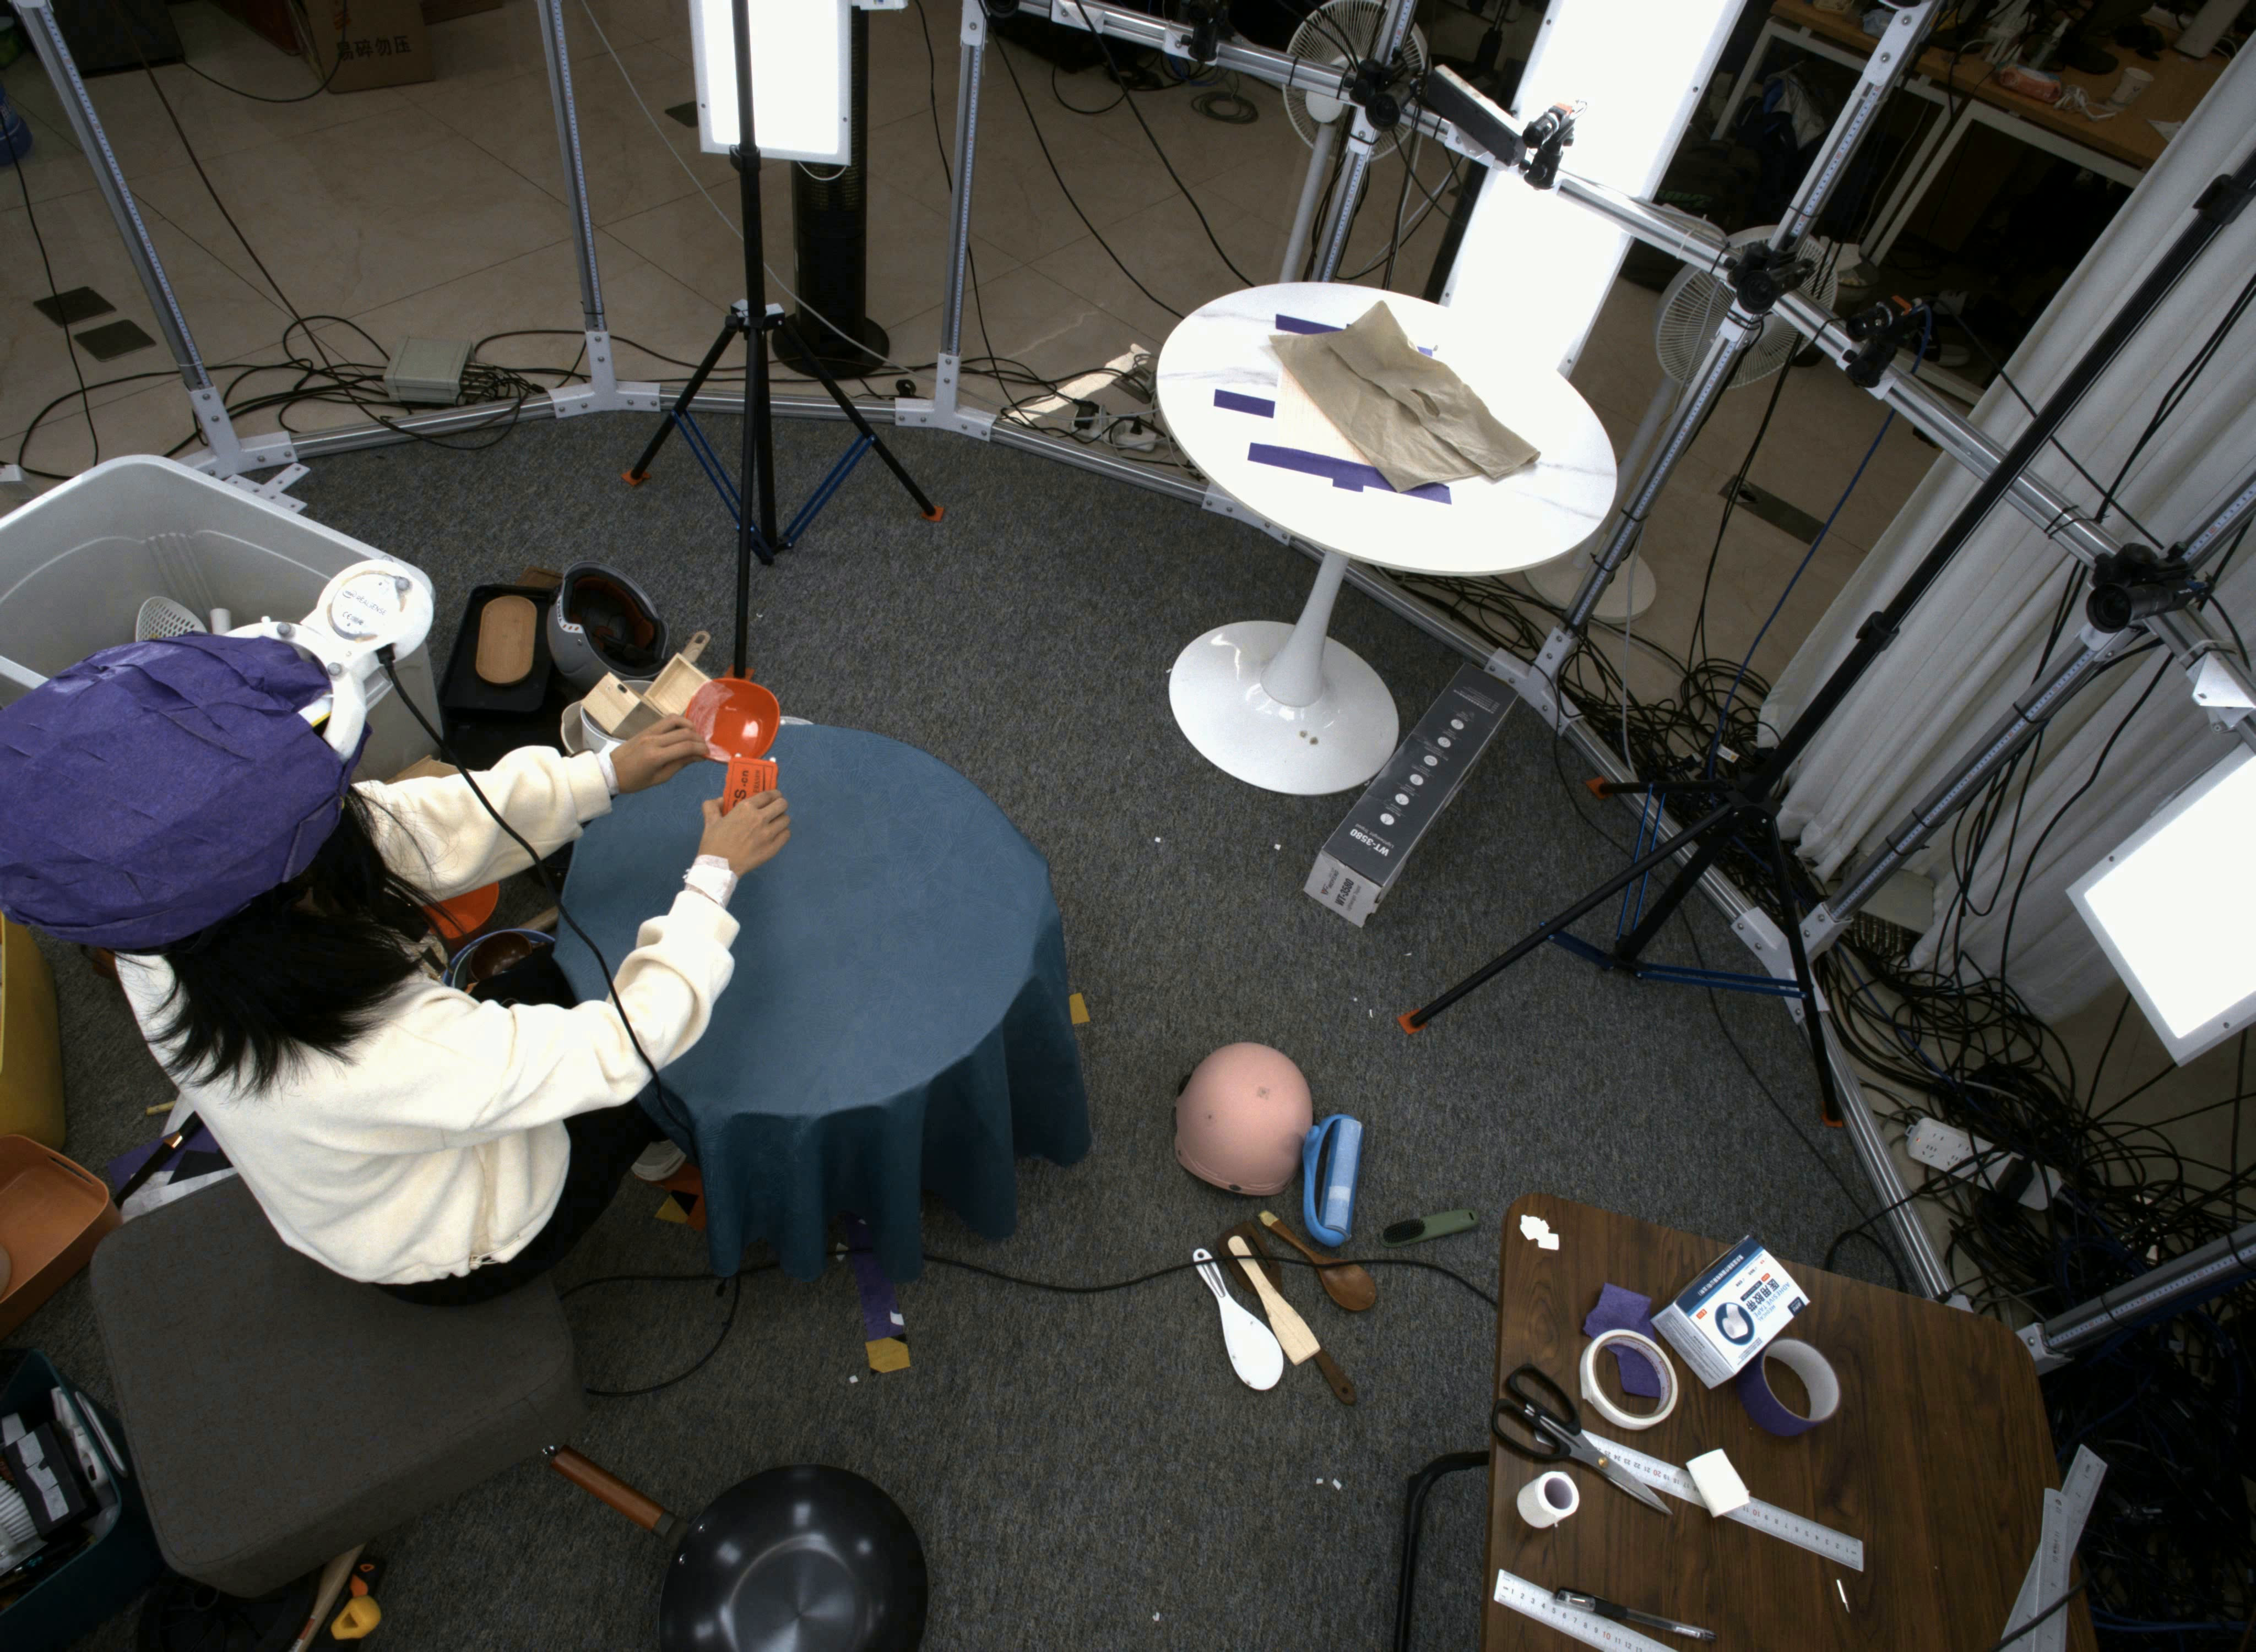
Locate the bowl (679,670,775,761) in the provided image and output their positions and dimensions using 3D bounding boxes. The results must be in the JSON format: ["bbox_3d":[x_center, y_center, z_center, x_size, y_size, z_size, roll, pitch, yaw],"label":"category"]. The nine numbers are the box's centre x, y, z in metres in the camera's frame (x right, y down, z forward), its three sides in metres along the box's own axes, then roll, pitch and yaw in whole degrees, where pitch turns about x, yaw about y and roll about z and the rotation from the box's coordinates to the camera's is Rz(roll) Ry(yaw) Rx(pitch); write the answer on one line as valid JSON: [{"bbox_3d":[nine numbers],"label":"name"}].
[{"bbox_3d":[-0.480,-0.125,1.550,0.119,0.051,0.118,5,71,-13],"label":"bowl"}]

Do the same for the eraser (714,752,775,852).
[{"bbox_3d":[-0.442,-0.028,1.491,0.059,0.022,0.108,8,80,-16],"label":"eraser"}]
